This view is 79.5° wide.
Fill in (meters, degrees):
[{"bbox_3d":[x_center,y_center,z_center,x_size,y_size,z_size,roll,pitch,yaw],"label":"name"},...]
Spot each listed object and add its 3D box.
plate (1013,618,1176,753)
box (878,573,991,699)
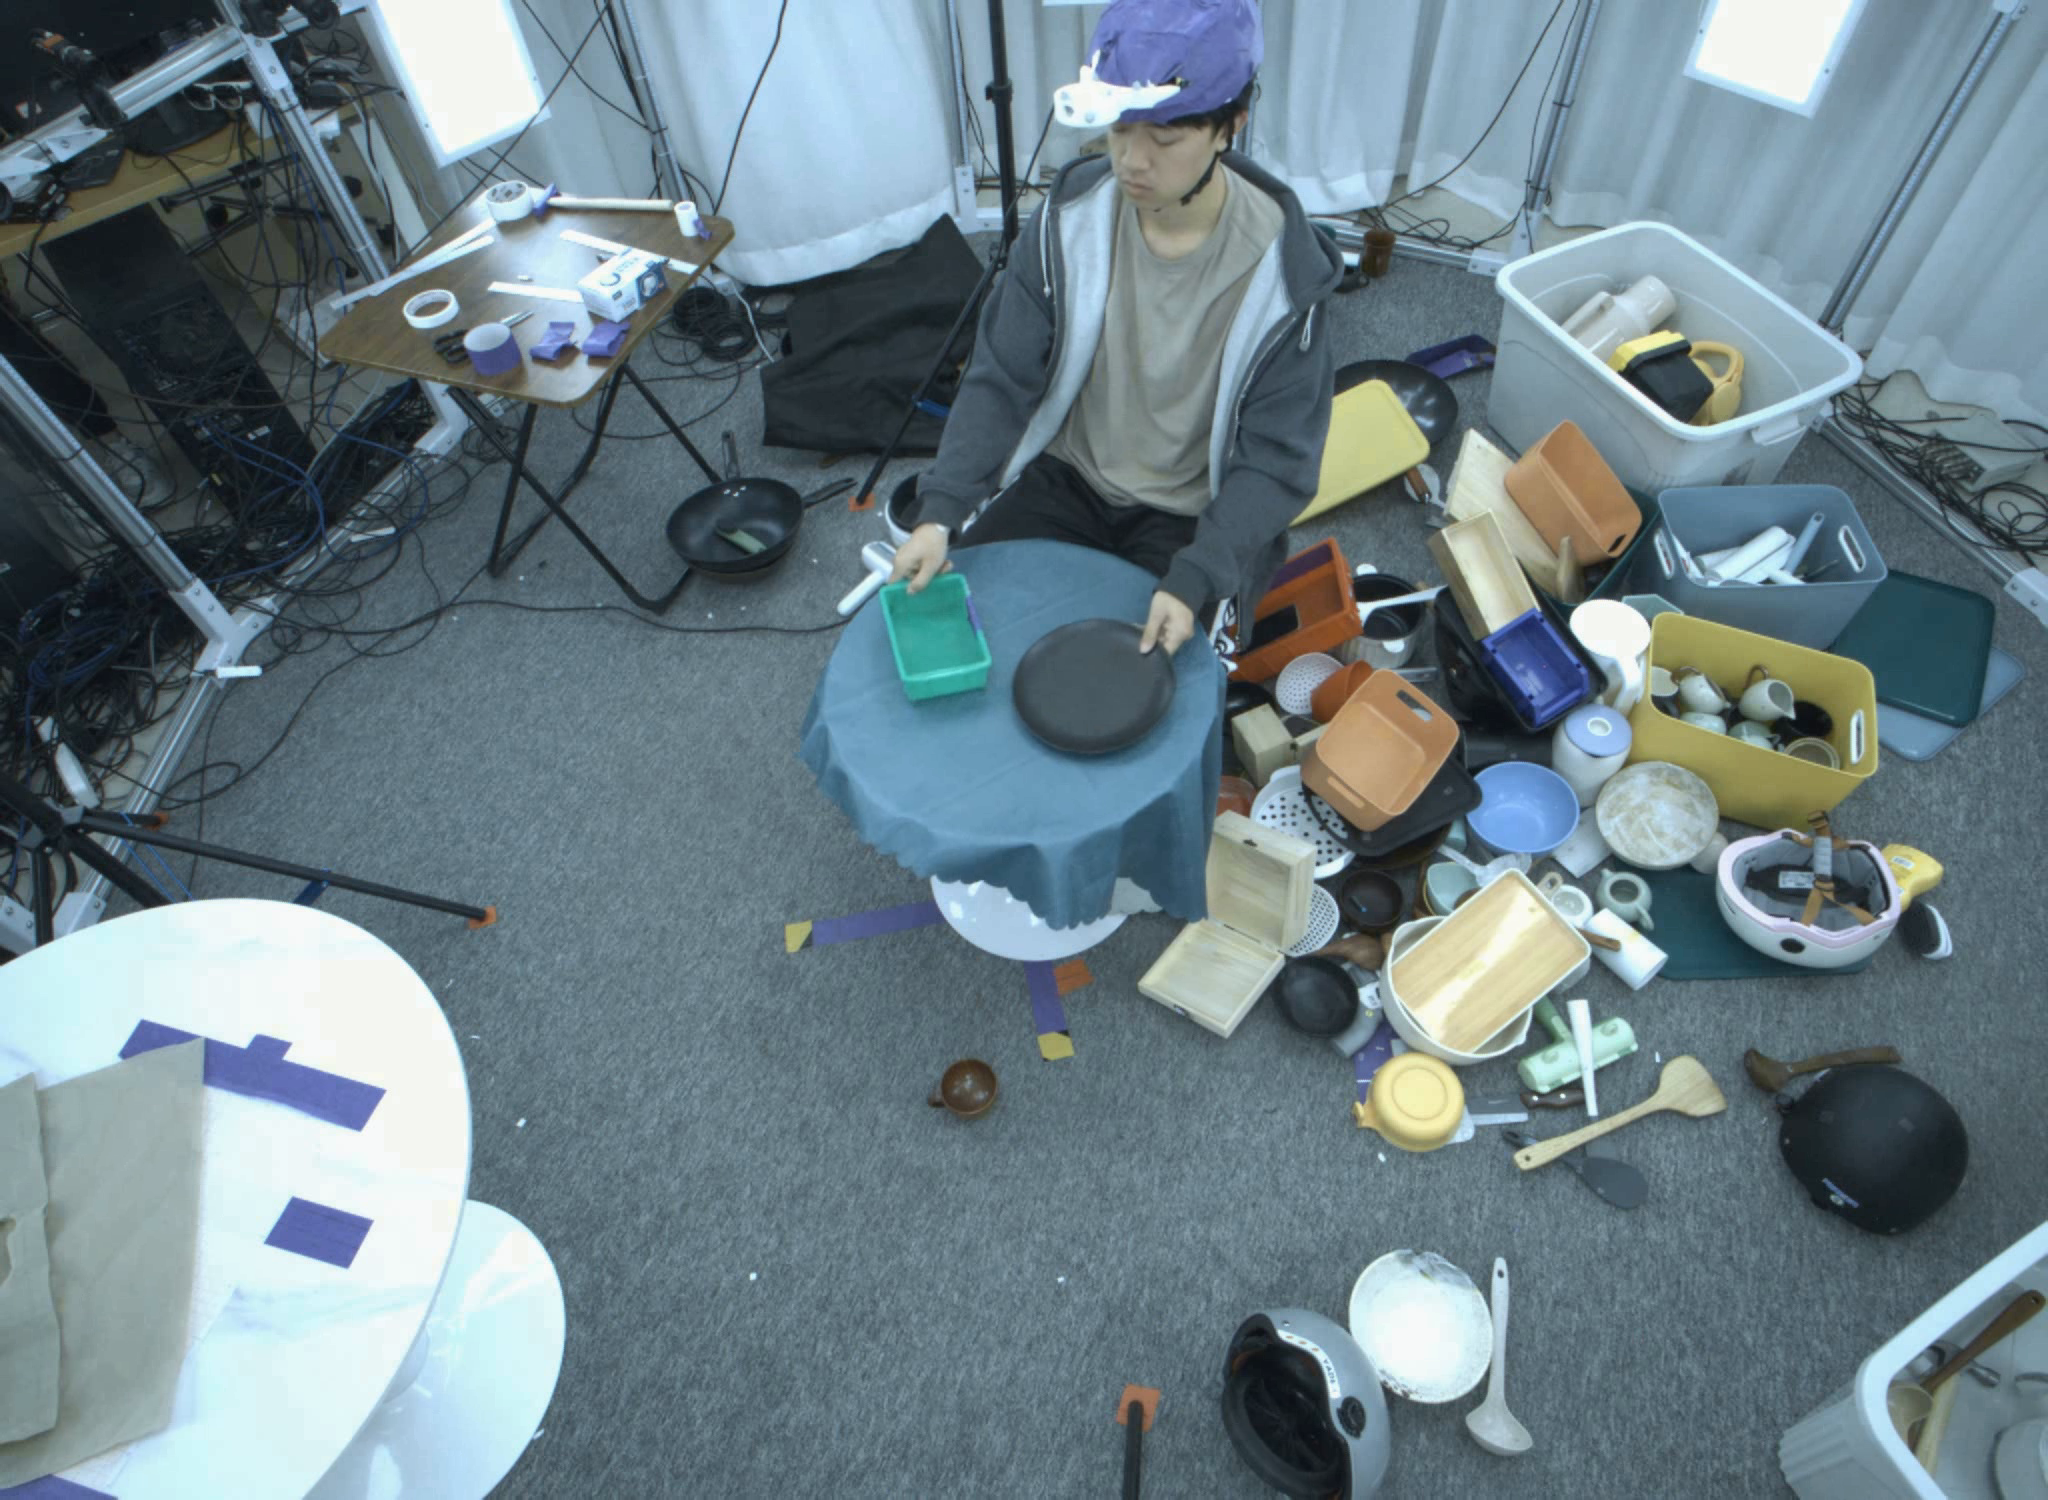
[{"bbox_3d":[0.104,-0.094,1.828,0.243,0.024,0.242,-3,58,6],"label":"plate"},{"bbox_3d":[-0.138,-0.173,1.871,0.140,0.066,0.207,-11,53,-12],"label":"box"}]
